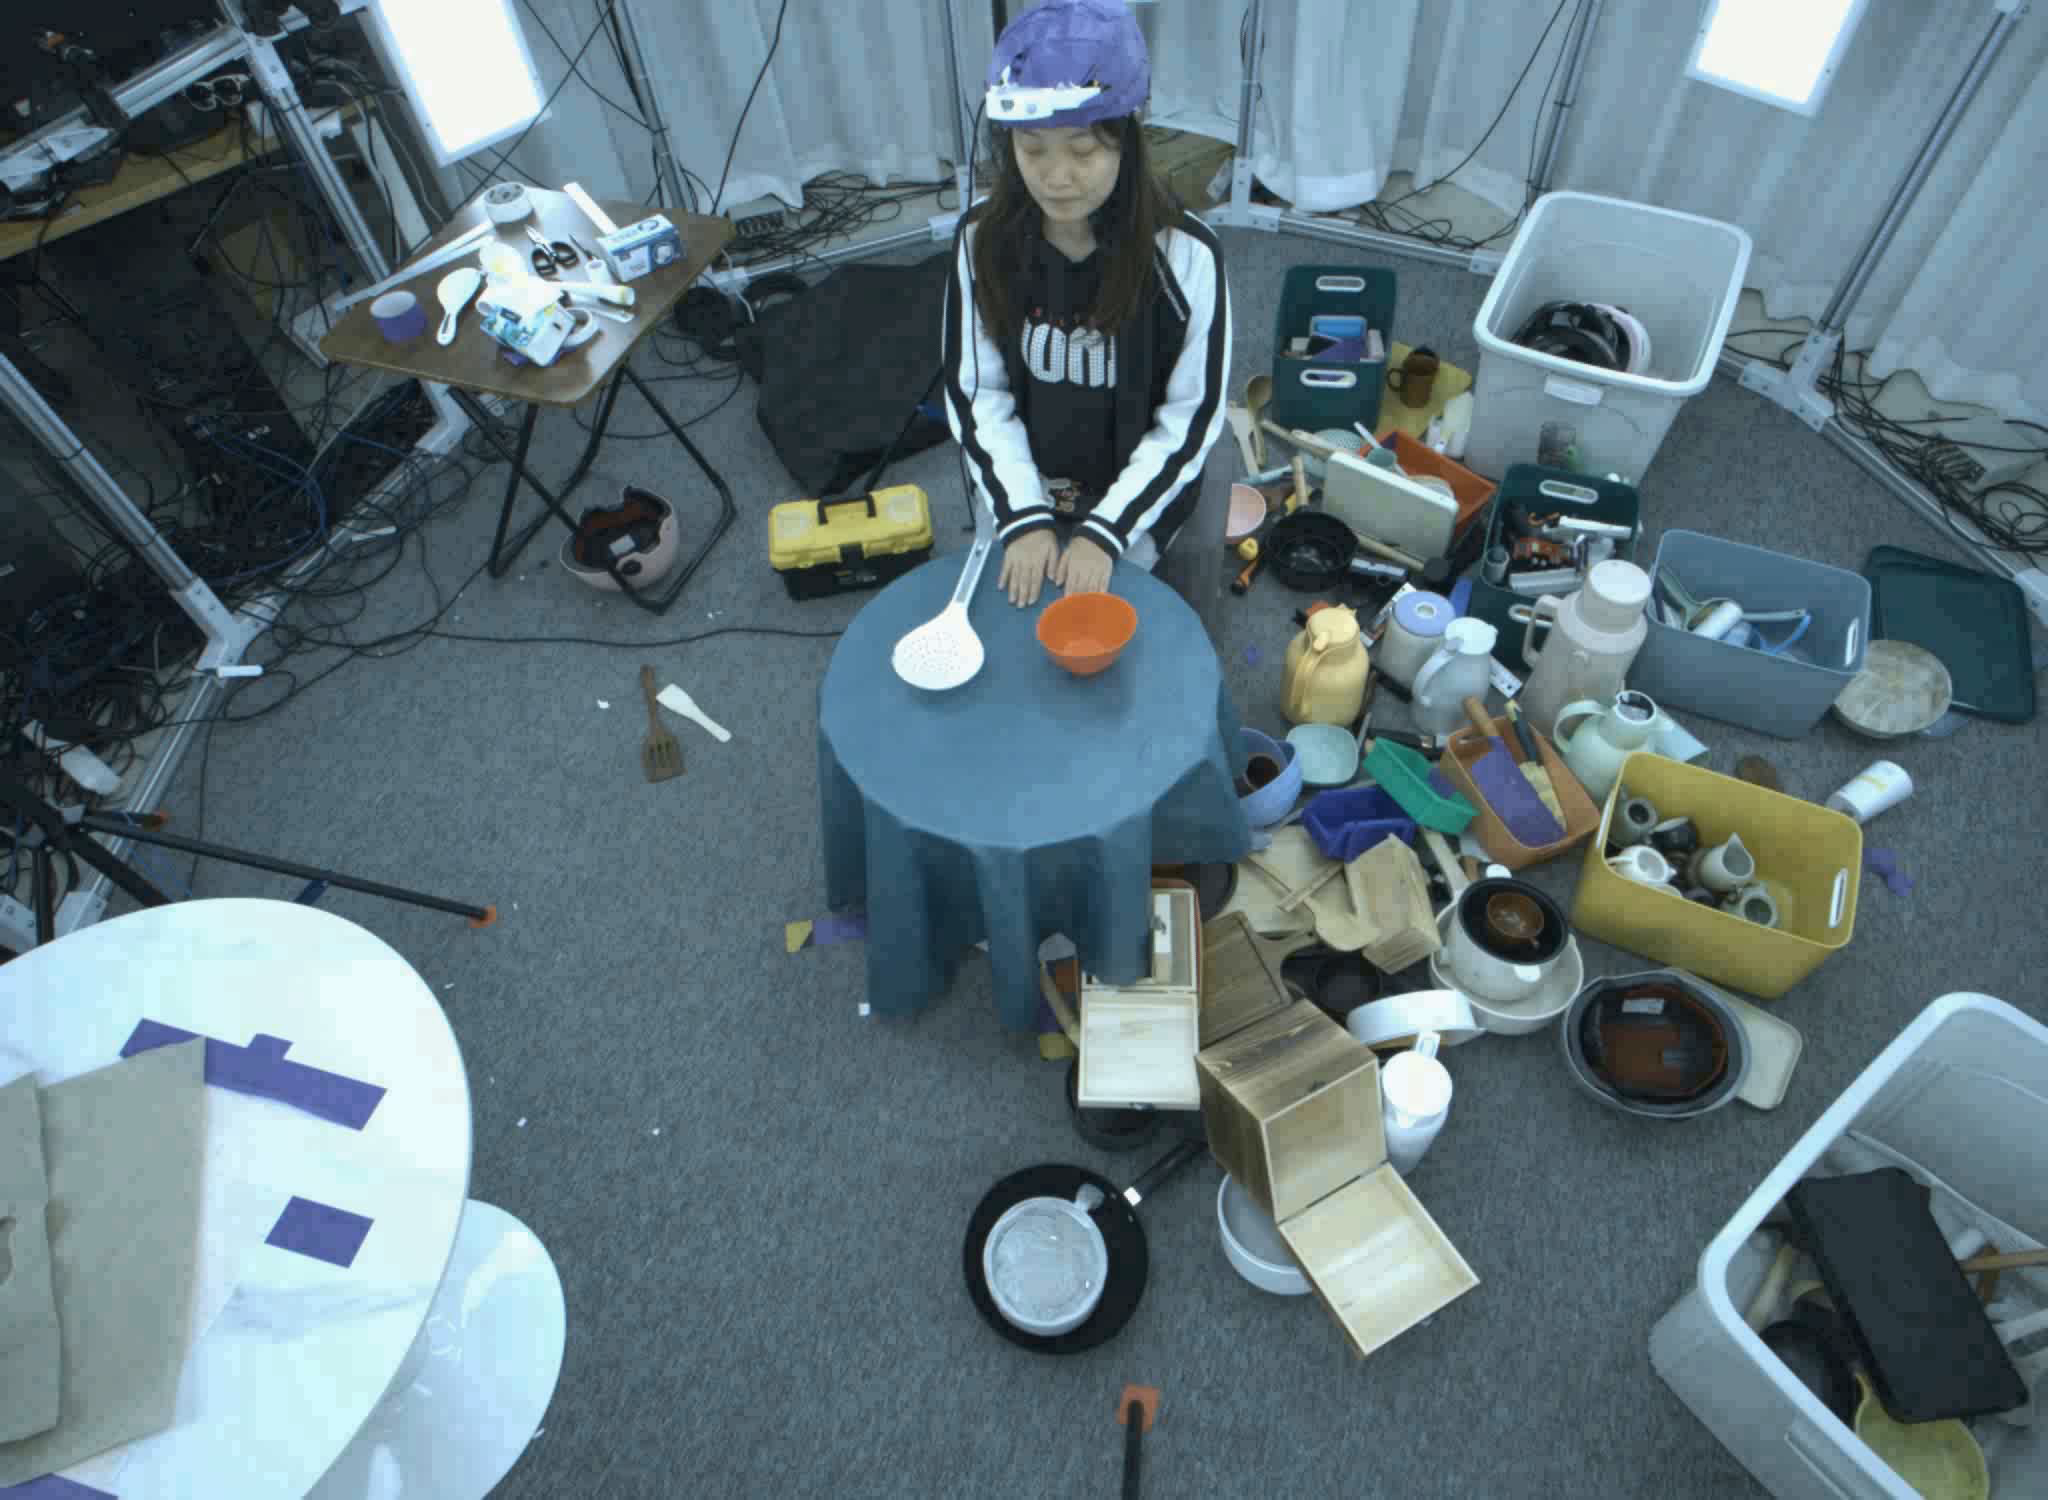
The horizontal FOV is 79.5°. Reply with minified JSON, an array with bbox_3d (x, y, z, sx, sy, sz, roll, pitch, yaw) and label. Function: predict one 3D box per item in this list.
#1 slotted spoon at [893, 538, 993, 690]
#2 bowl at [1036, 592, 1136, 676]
[{"bbox_3d":[-0.106,-0.217,1.917,0.135,0.046,0.348,10,55,8],"label":"slotted spoon"},{"bbox_3d":[0.094,-0.161,1.837,0.148,0.106,0.146,-2,54,4],"label":"bowl"}]
